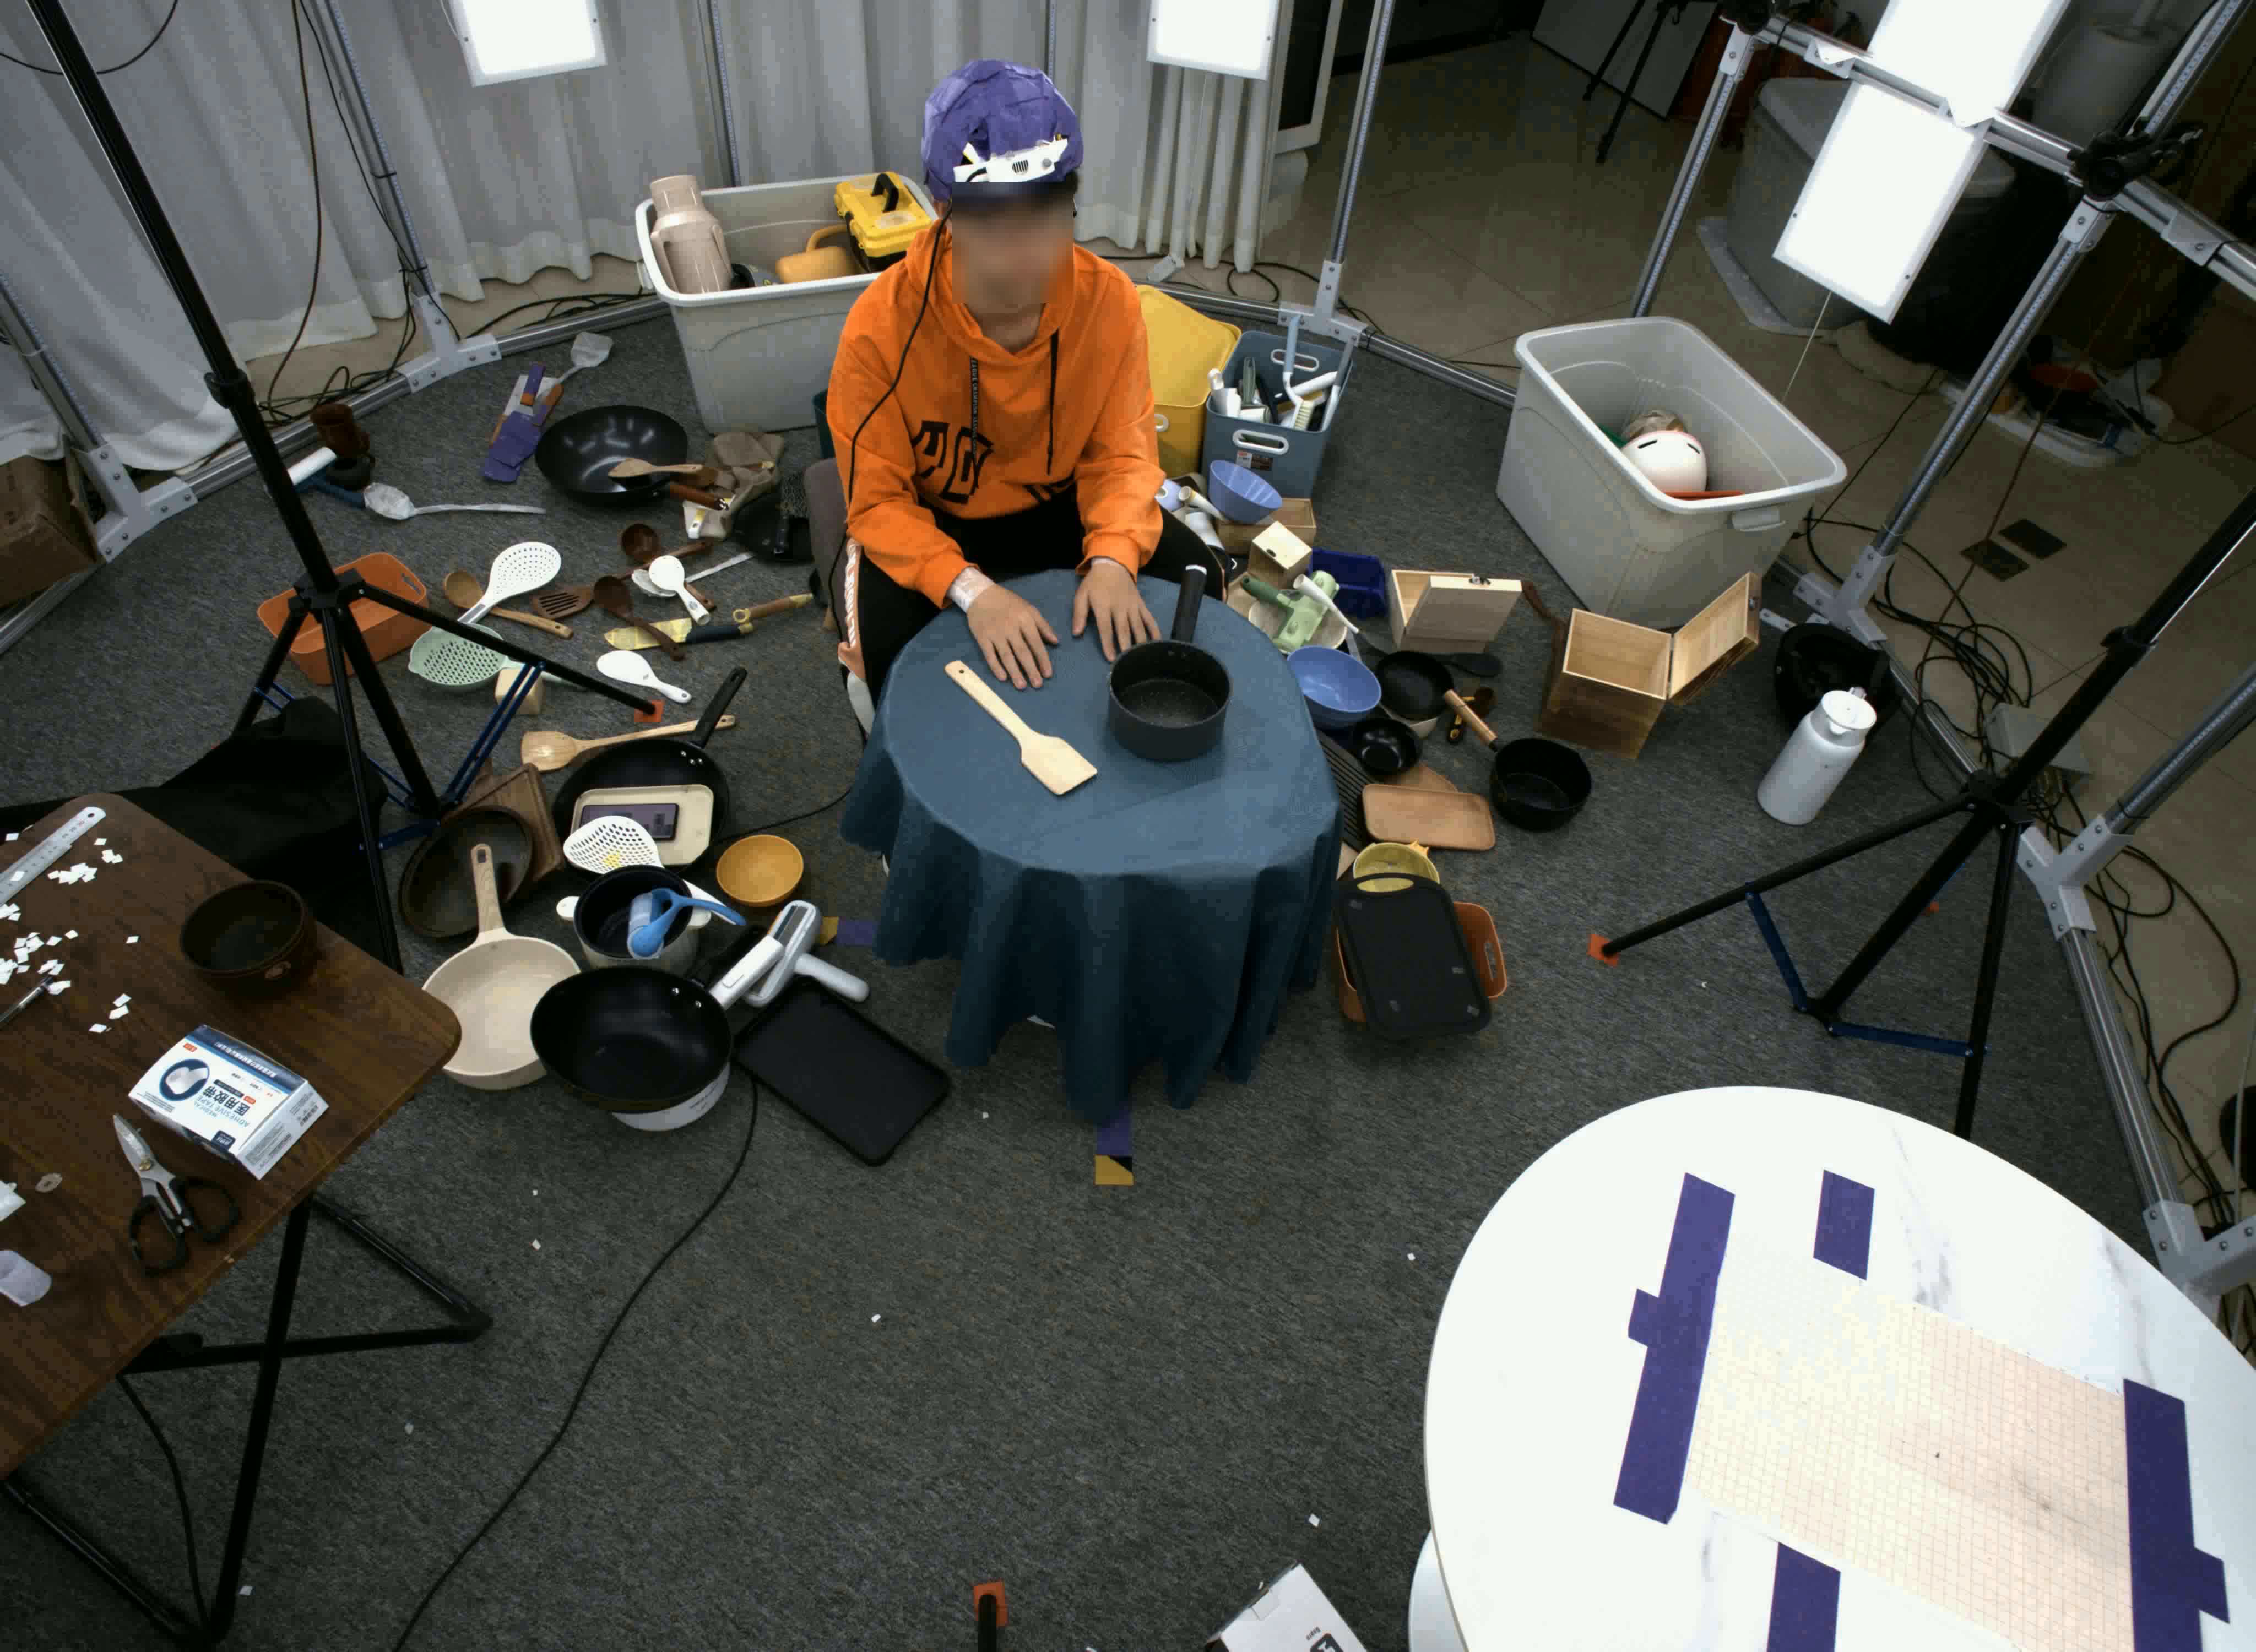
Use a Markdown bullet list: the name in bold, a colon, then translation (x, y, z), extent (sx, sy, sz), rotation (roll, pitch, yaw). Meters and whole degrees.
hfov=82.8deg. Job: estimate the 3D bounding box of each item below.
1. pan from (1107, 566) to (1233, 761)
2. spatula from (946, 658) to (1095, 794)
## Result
- **pan**: translation (0.073, -0.235, 1.823), extent (0.172, 0.084, 0.336), rotation (12, 51, 6)
- **spatula**: translation (-0.162, -0.146, 1.778), extent (0.073, 0.010, 0.298), rotation (-32, 58, -23)
